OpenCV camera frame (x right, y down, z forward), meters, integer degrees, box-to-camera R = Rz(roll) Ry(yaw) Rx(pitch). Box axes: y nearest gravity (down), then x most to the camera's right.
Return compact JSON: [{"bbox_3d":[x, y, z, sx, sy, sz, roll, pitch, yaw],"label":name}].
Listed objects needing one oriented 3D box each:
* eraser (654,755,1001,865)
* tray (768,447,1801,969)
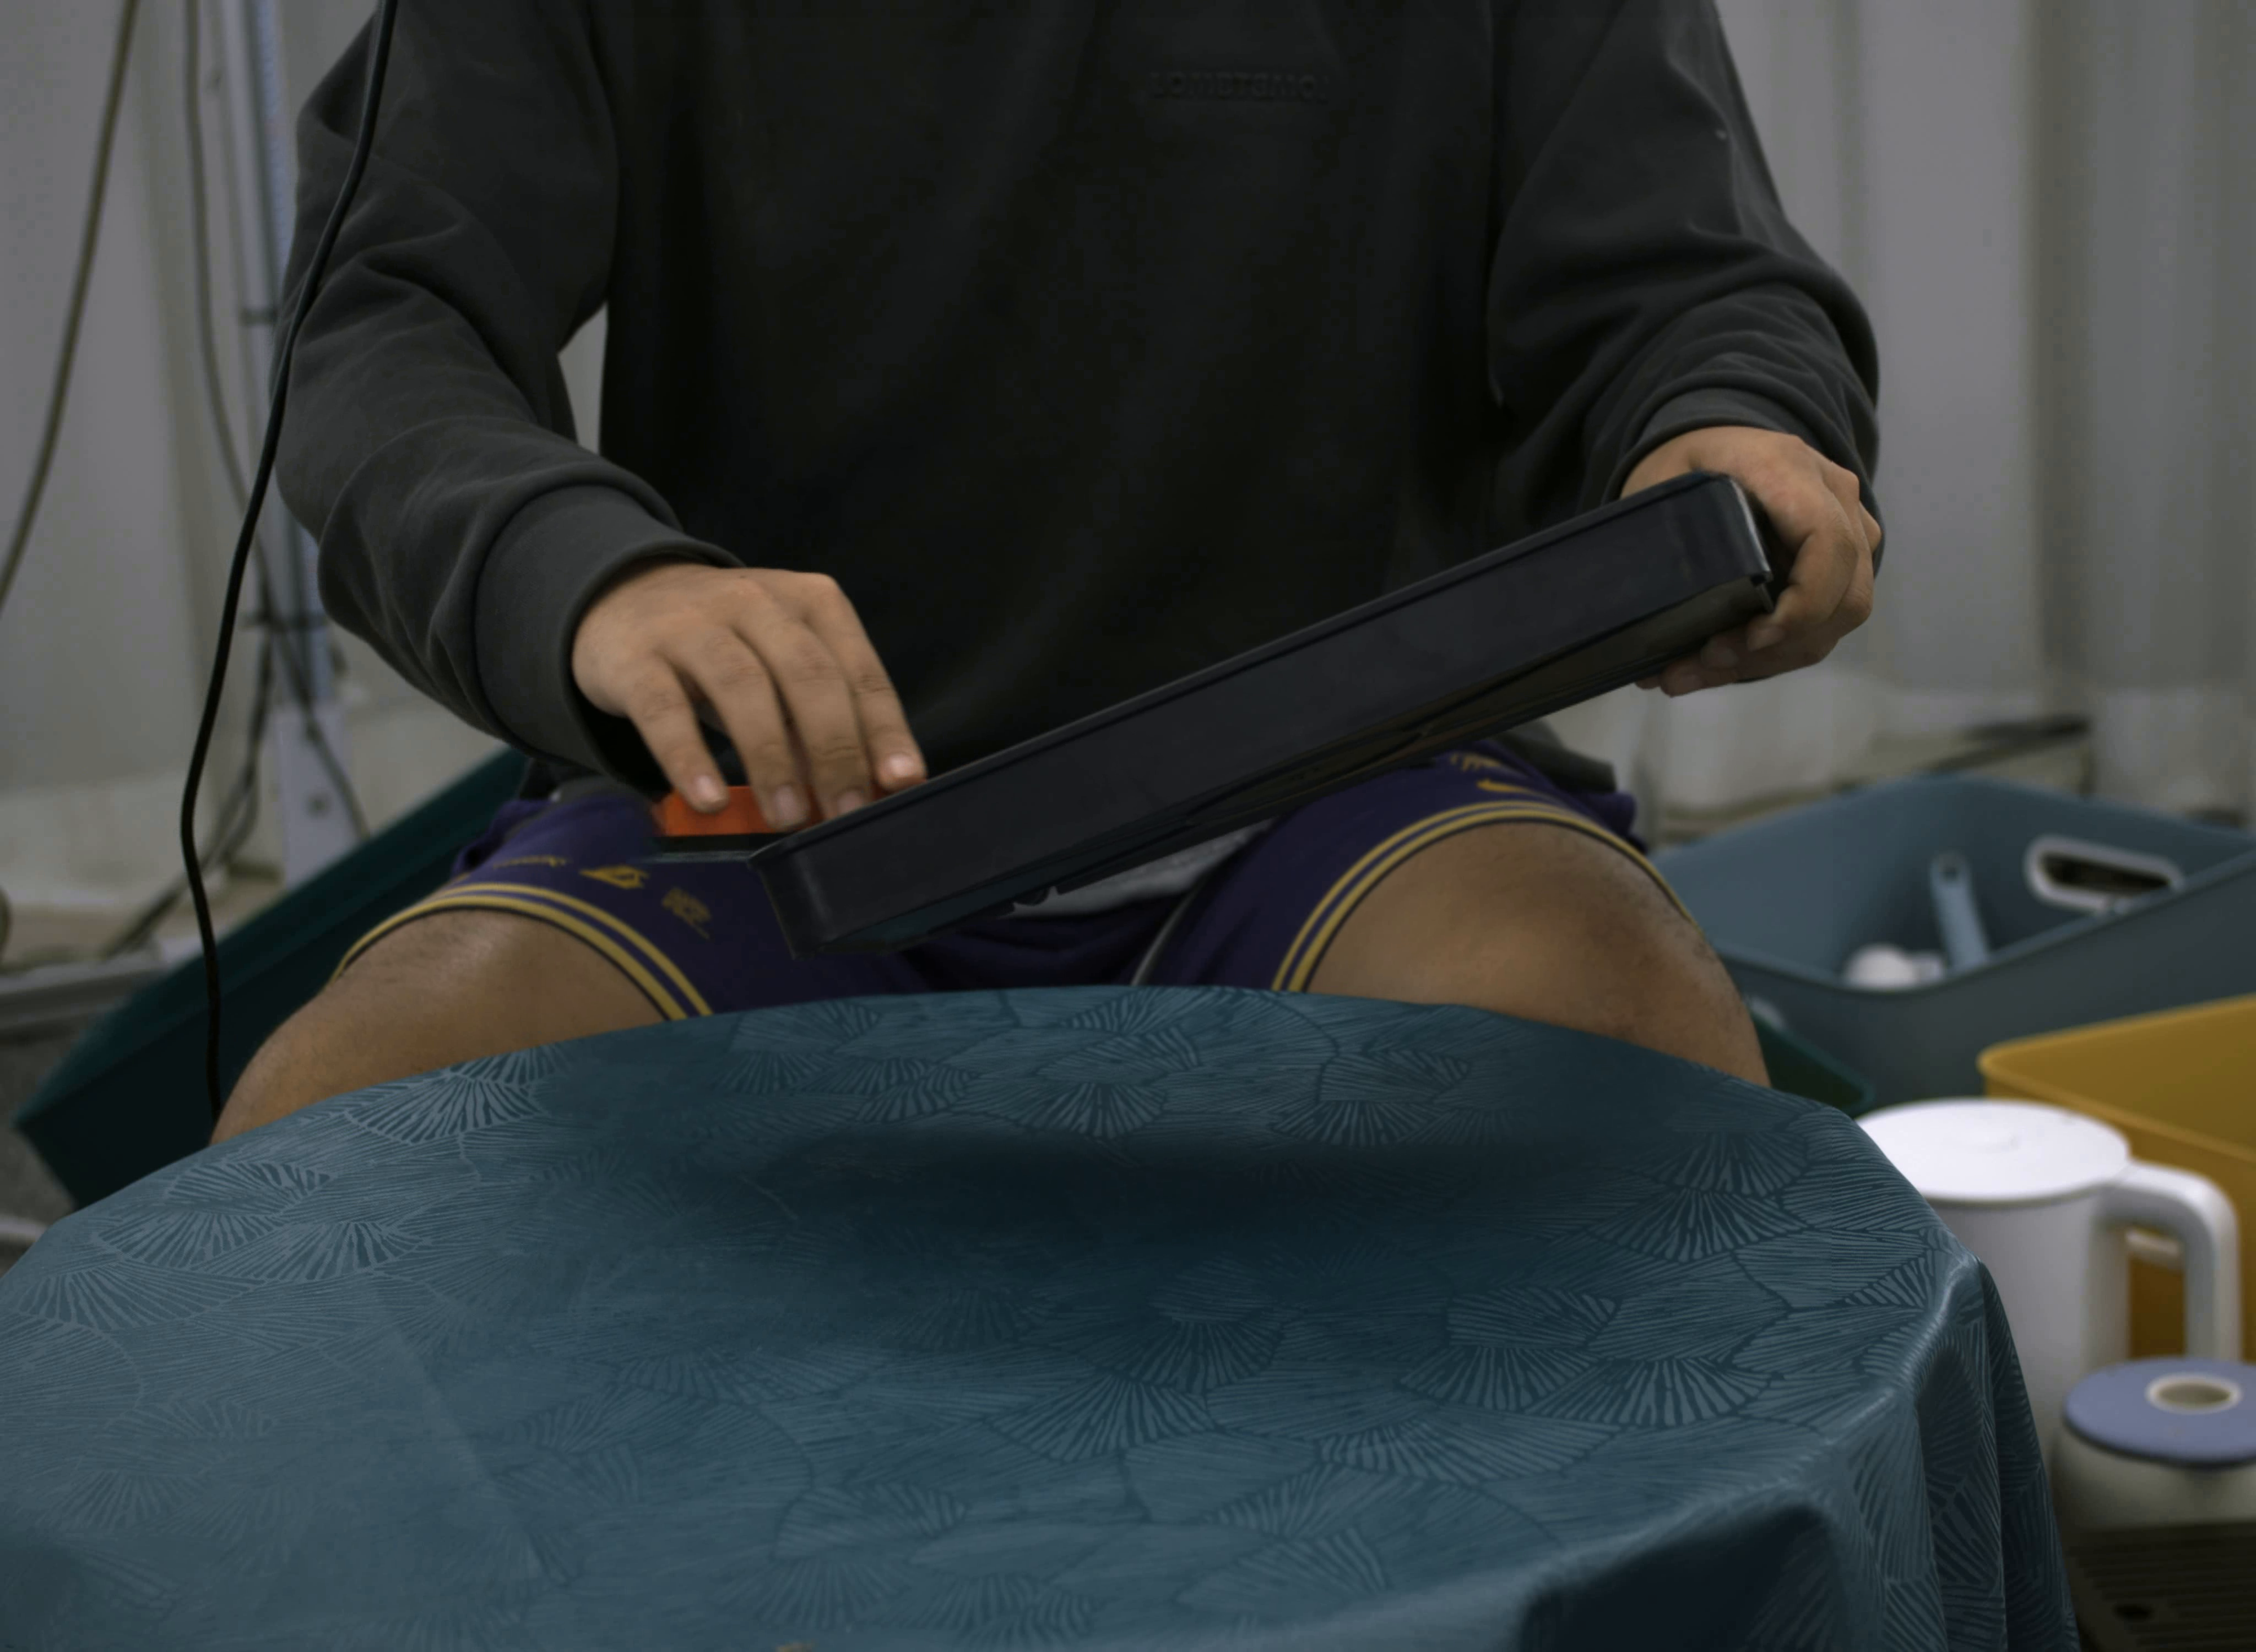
[{"bbox_3d":[-0.093,-0.005,1.704,0.107,0.023,0.059,-3,-10,-6],"label":"eraser"},{"bbox_3d":[0.054,-0.031,1.680,0.317,0.037,0.183,-22,-6,6],"label":"tray"}]
